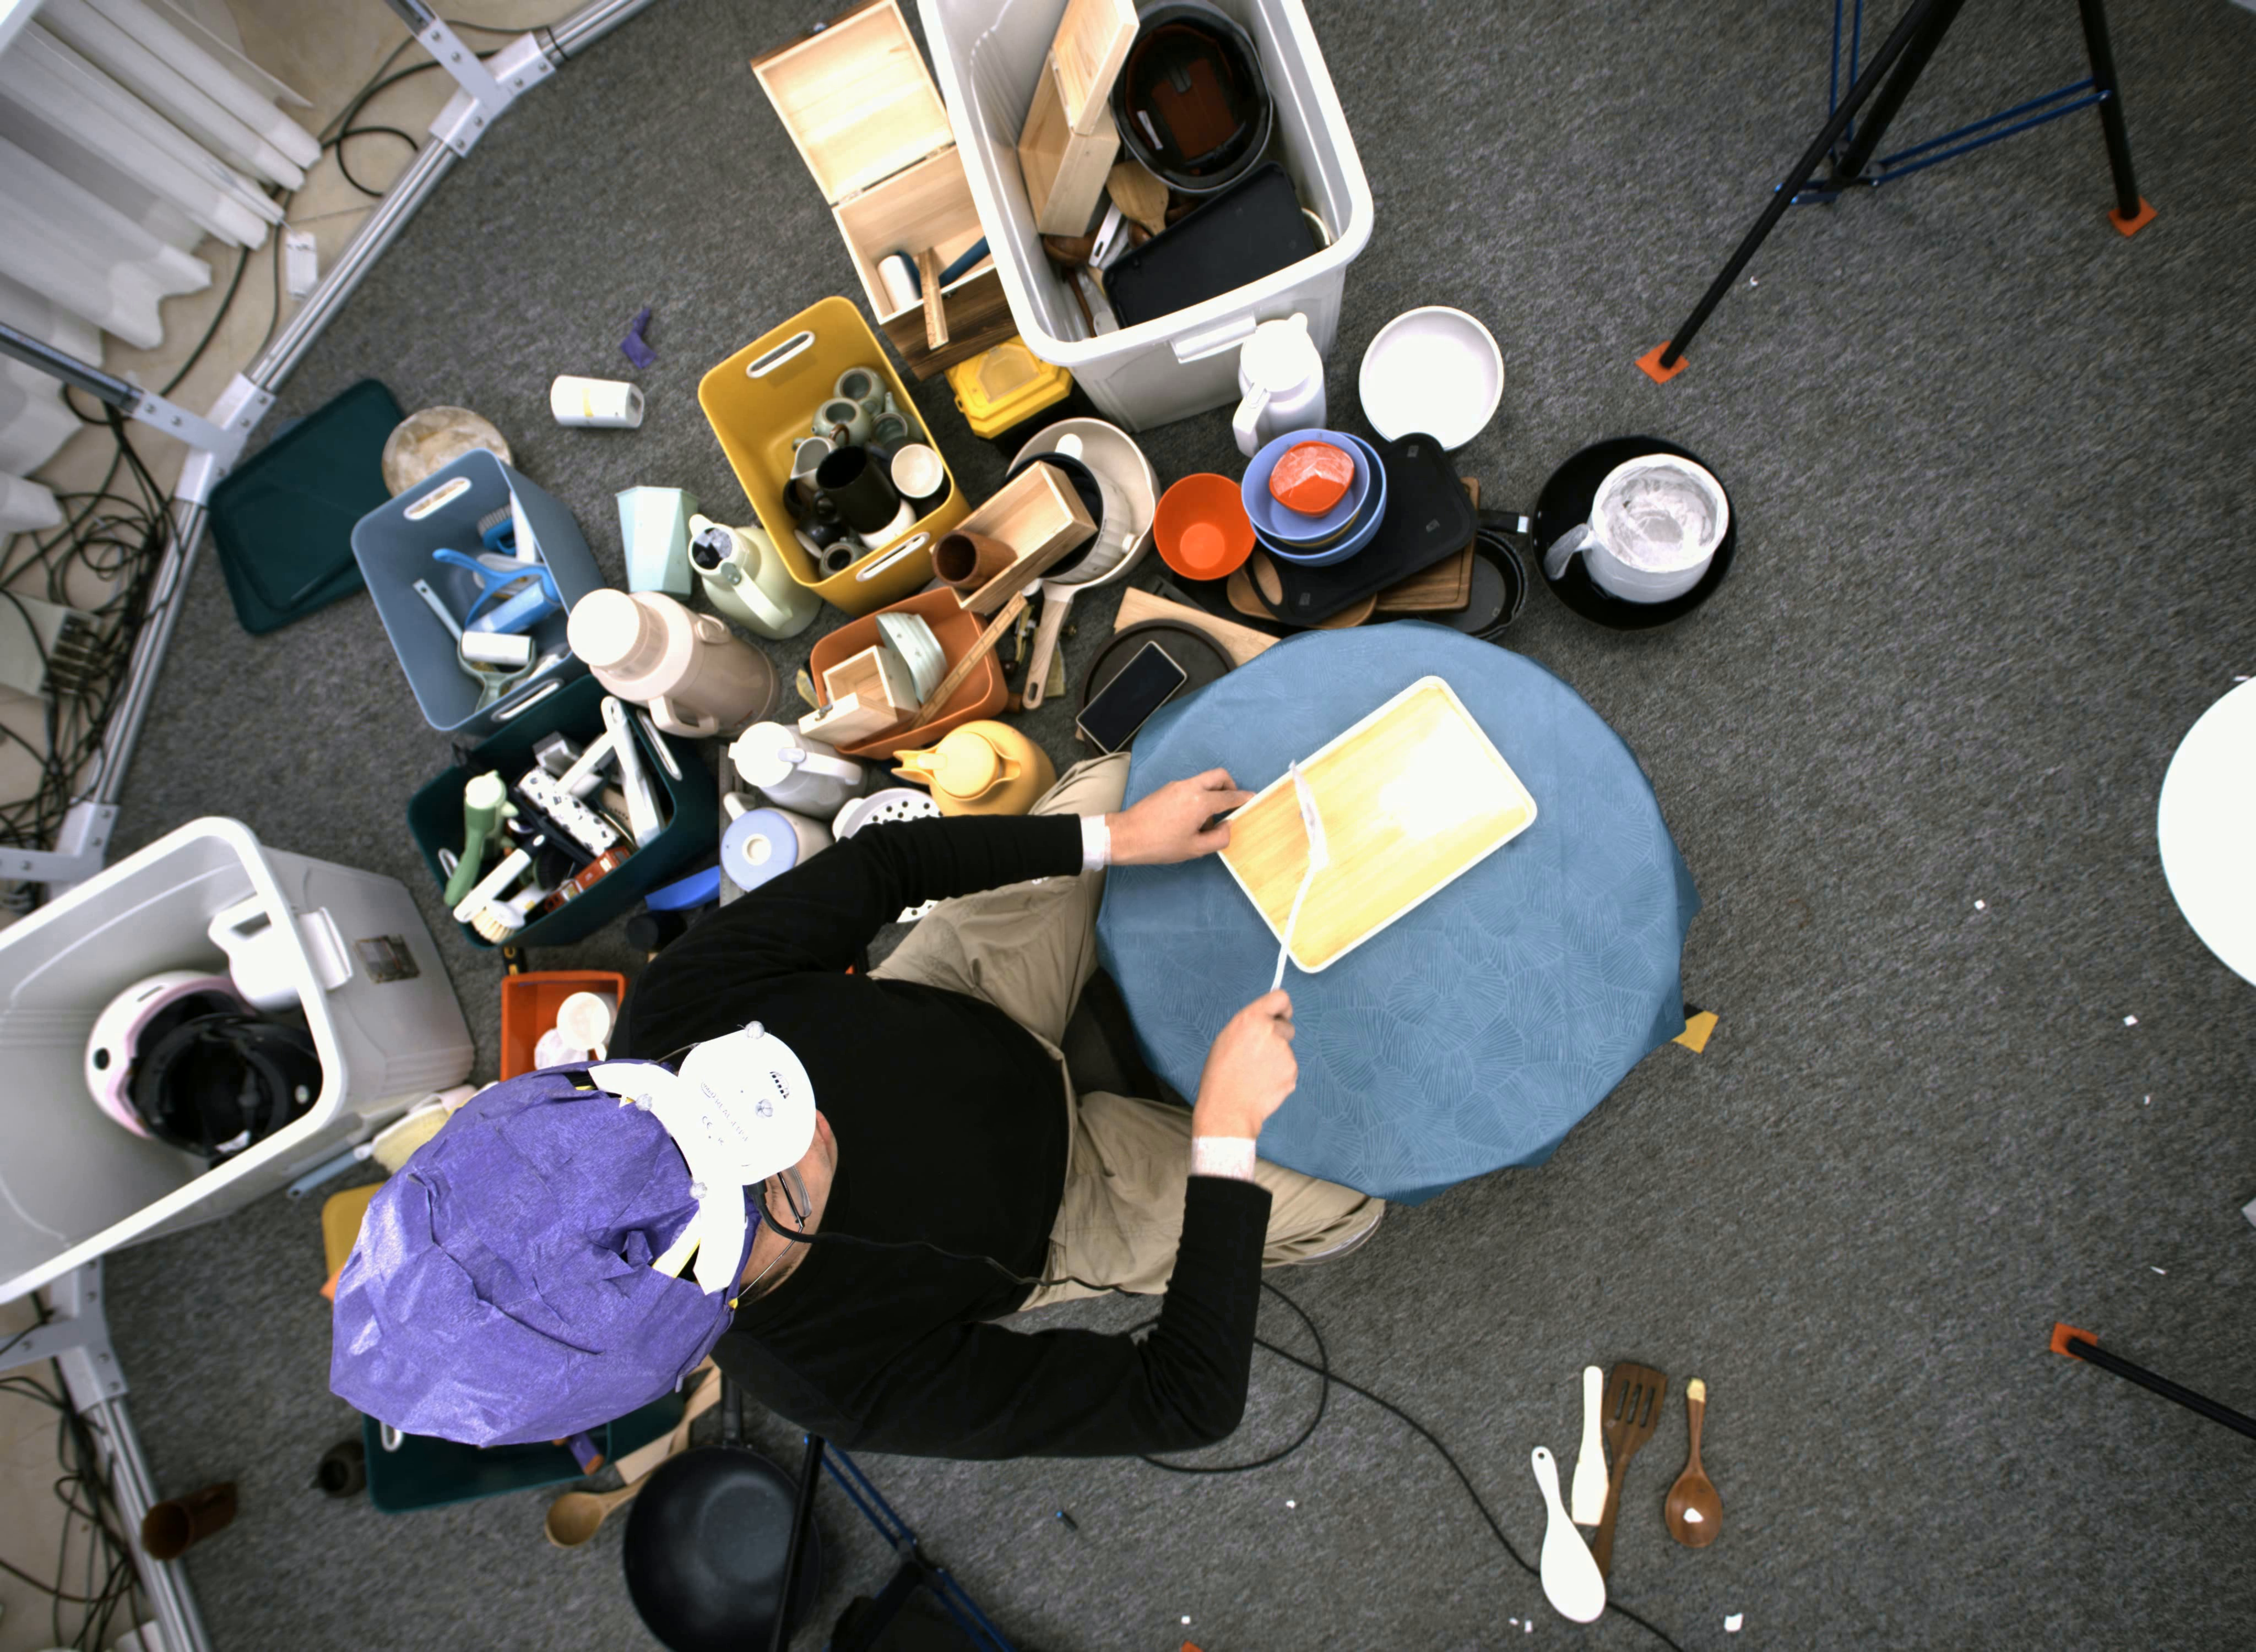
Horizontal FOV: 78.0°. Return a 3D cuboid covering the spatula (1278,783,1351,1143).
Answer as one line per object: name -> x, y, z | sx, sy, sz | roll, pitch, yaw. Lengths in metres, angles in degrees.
spatula -> 0.175, 0.128, 1.350 | 0.045, 0.100, 0.358 | 9, 66, 22

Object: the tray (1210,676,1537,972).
tray -> 0.256, -0.003, 1.452 | 0.302, 0.027, 0.190 | -35, 82, 7
